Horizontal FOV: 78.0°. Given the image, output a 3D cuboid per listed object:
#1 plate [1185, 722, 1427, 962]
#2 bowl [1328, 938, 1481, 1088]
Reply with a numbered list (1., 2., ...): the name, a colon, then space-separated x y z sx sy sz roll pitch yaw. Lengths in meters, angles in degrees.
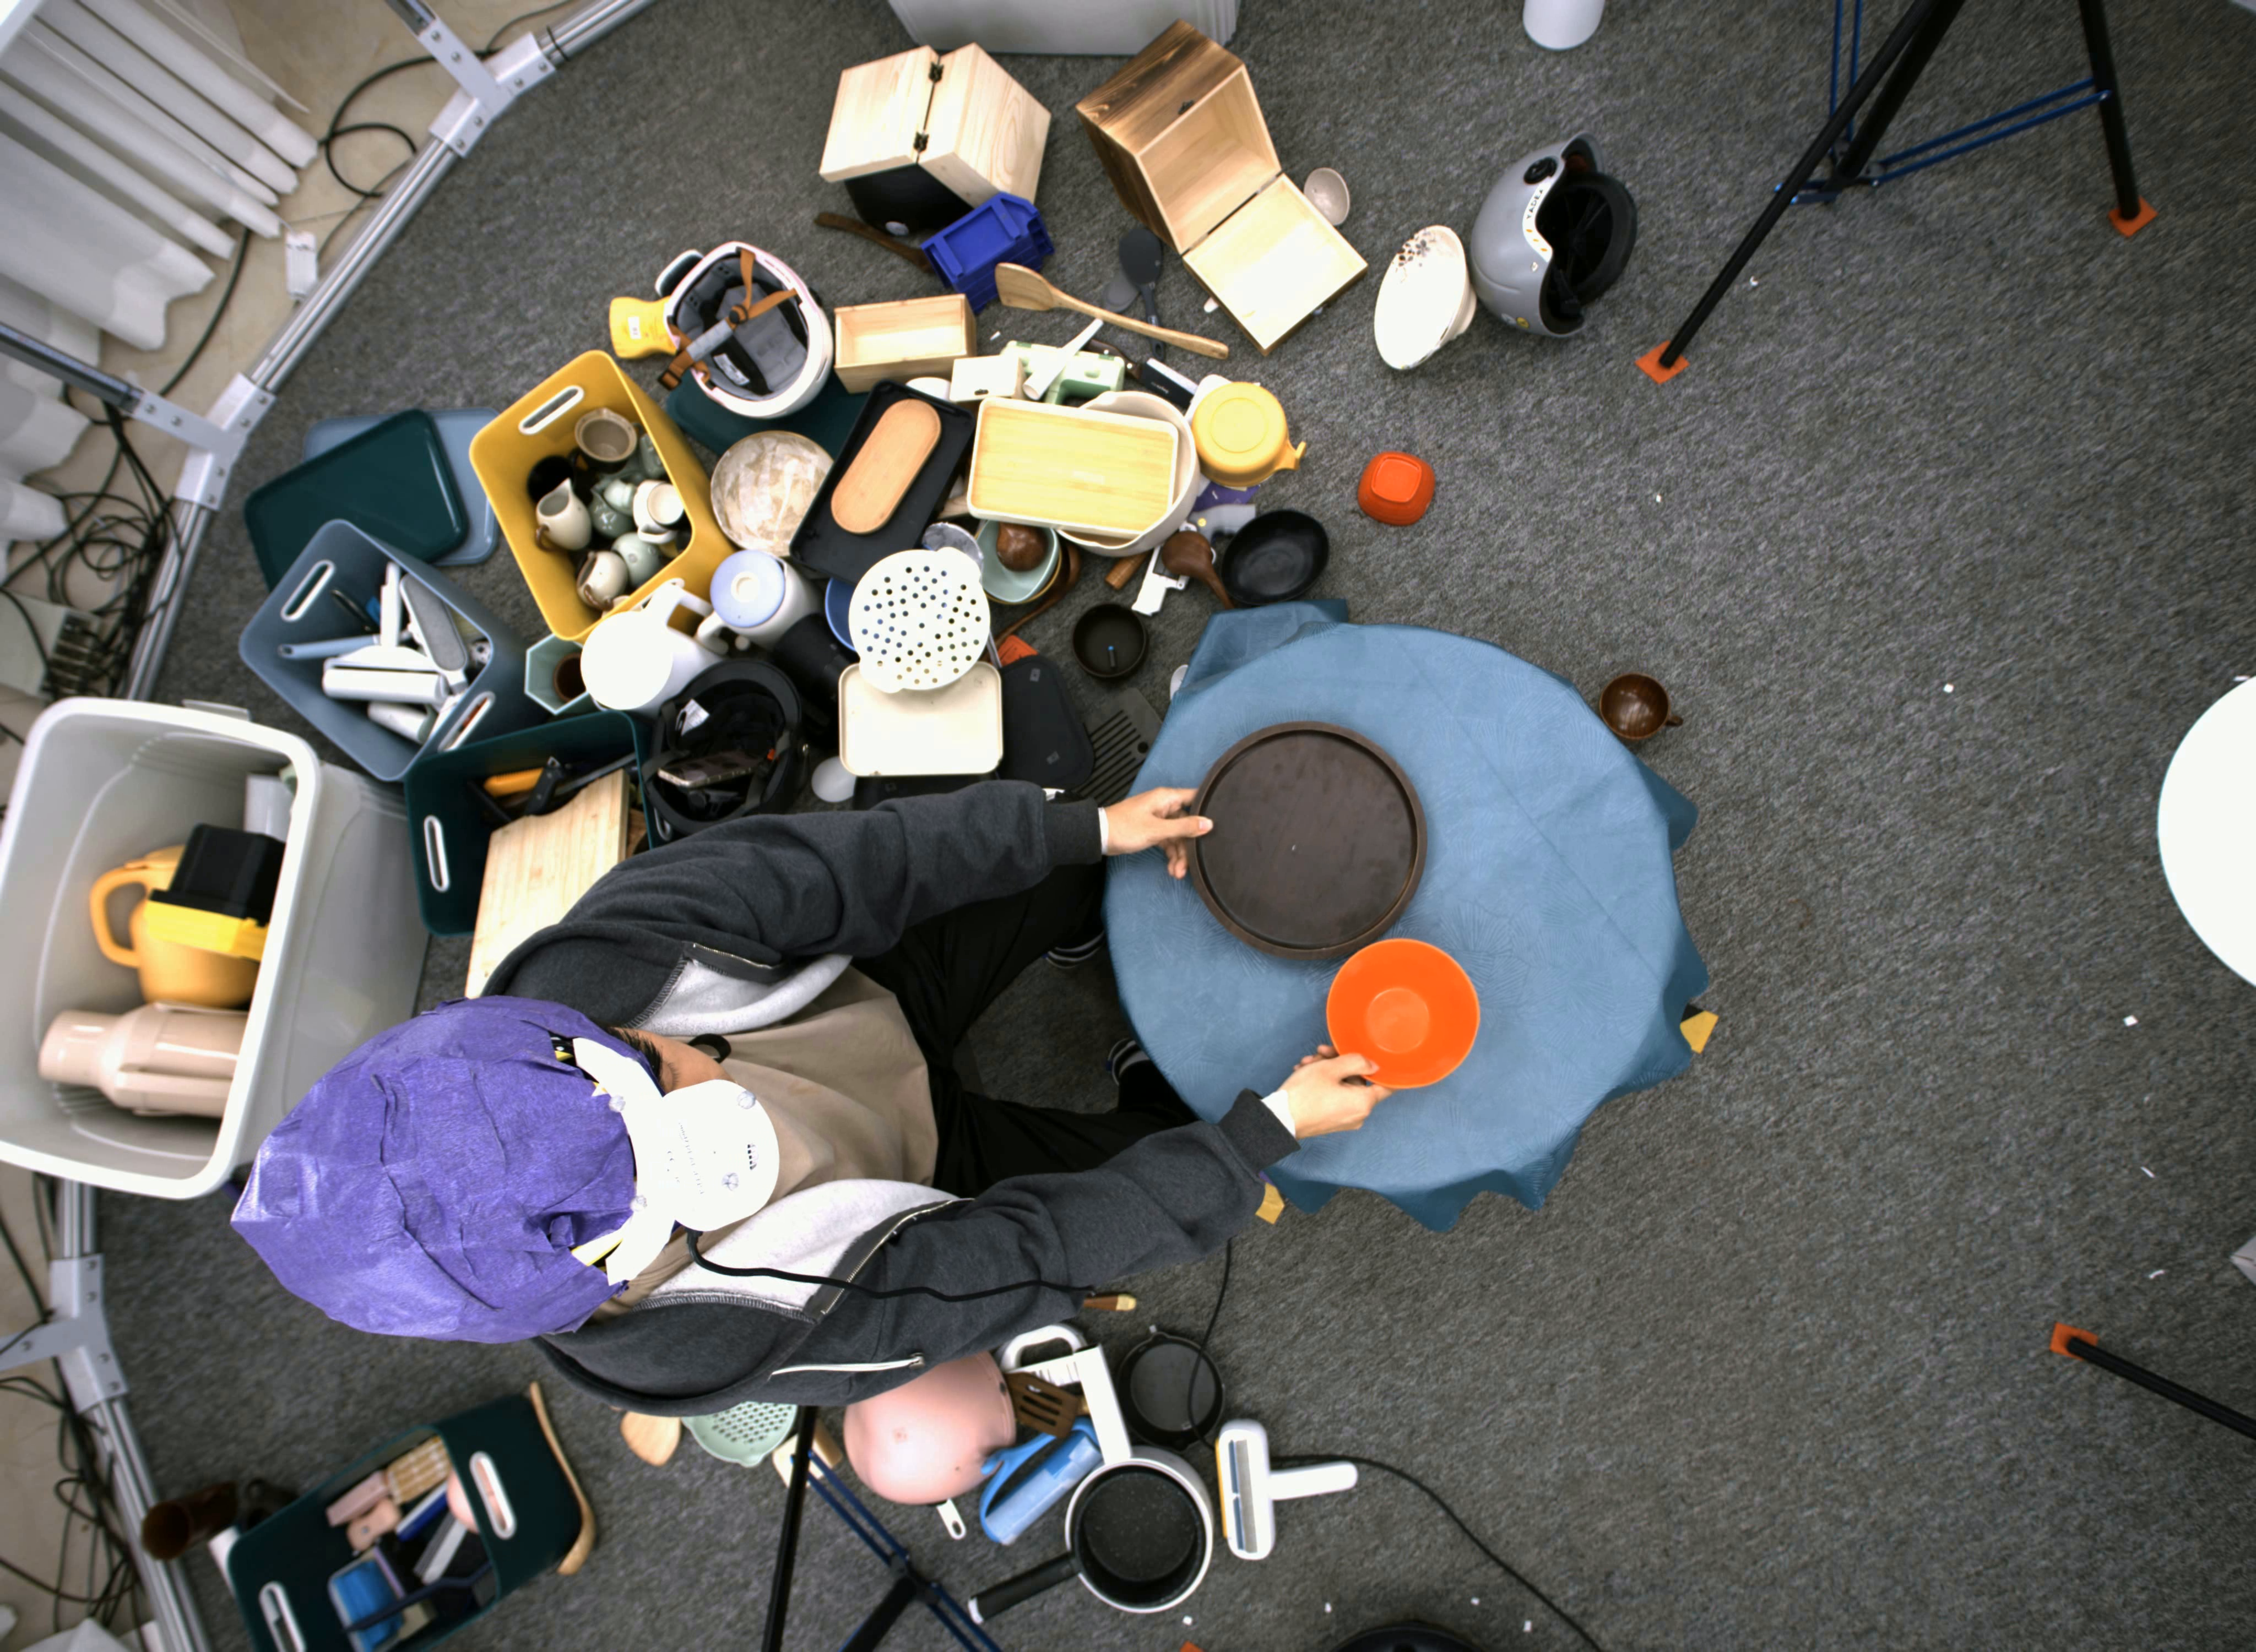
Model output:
1. plate: 0.186 0.015 1.452 0.255 0.029 0.254 0 87 4
2. bowl: 0.276 0.186 1.392 0.148 0.104 0.147 -1 87 8
